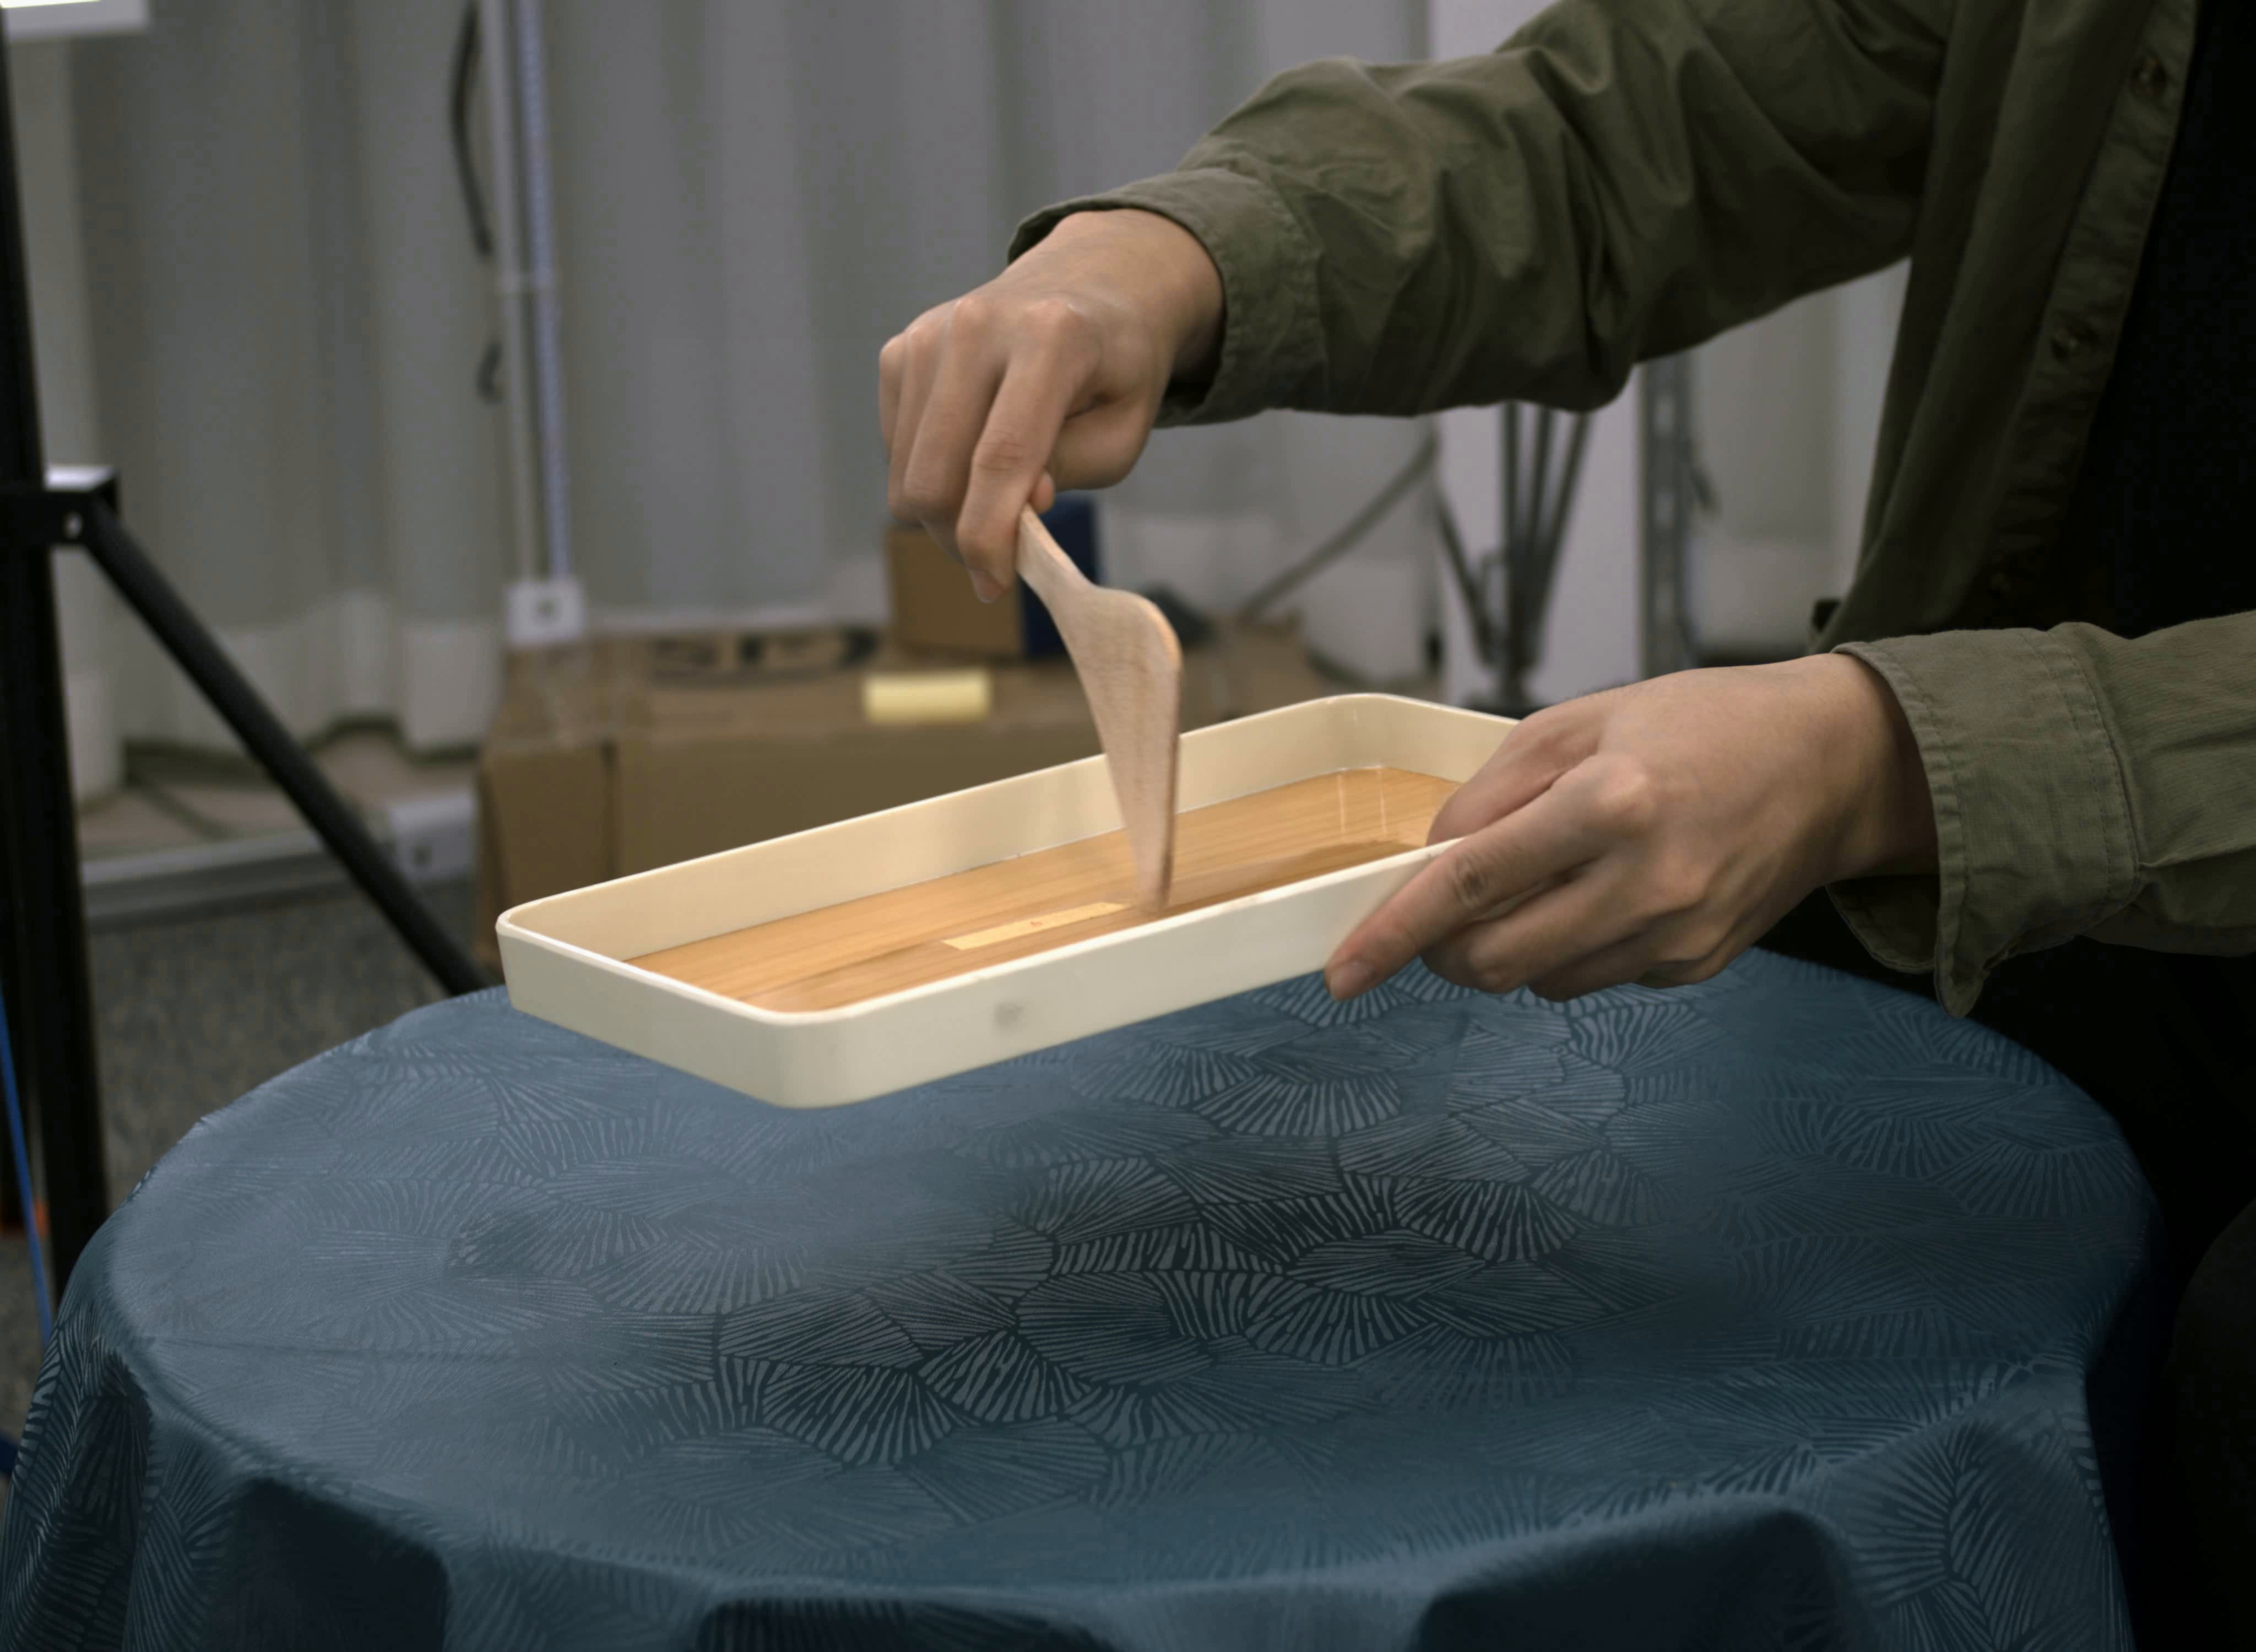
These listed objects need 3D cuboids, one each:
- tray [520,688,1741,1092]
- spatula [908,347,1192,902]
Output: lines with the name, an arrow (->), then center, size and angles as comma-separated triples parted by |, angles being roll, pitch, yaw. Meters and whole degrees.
tray -> 0.001, 0.013, 1.471 | 0.294, 0.027, 0.195 | -13, 15, -27
spatula -> -0.025, -0.076, 1.562 | 0.016, 0.080, 0.333 | -3, 25, -17
